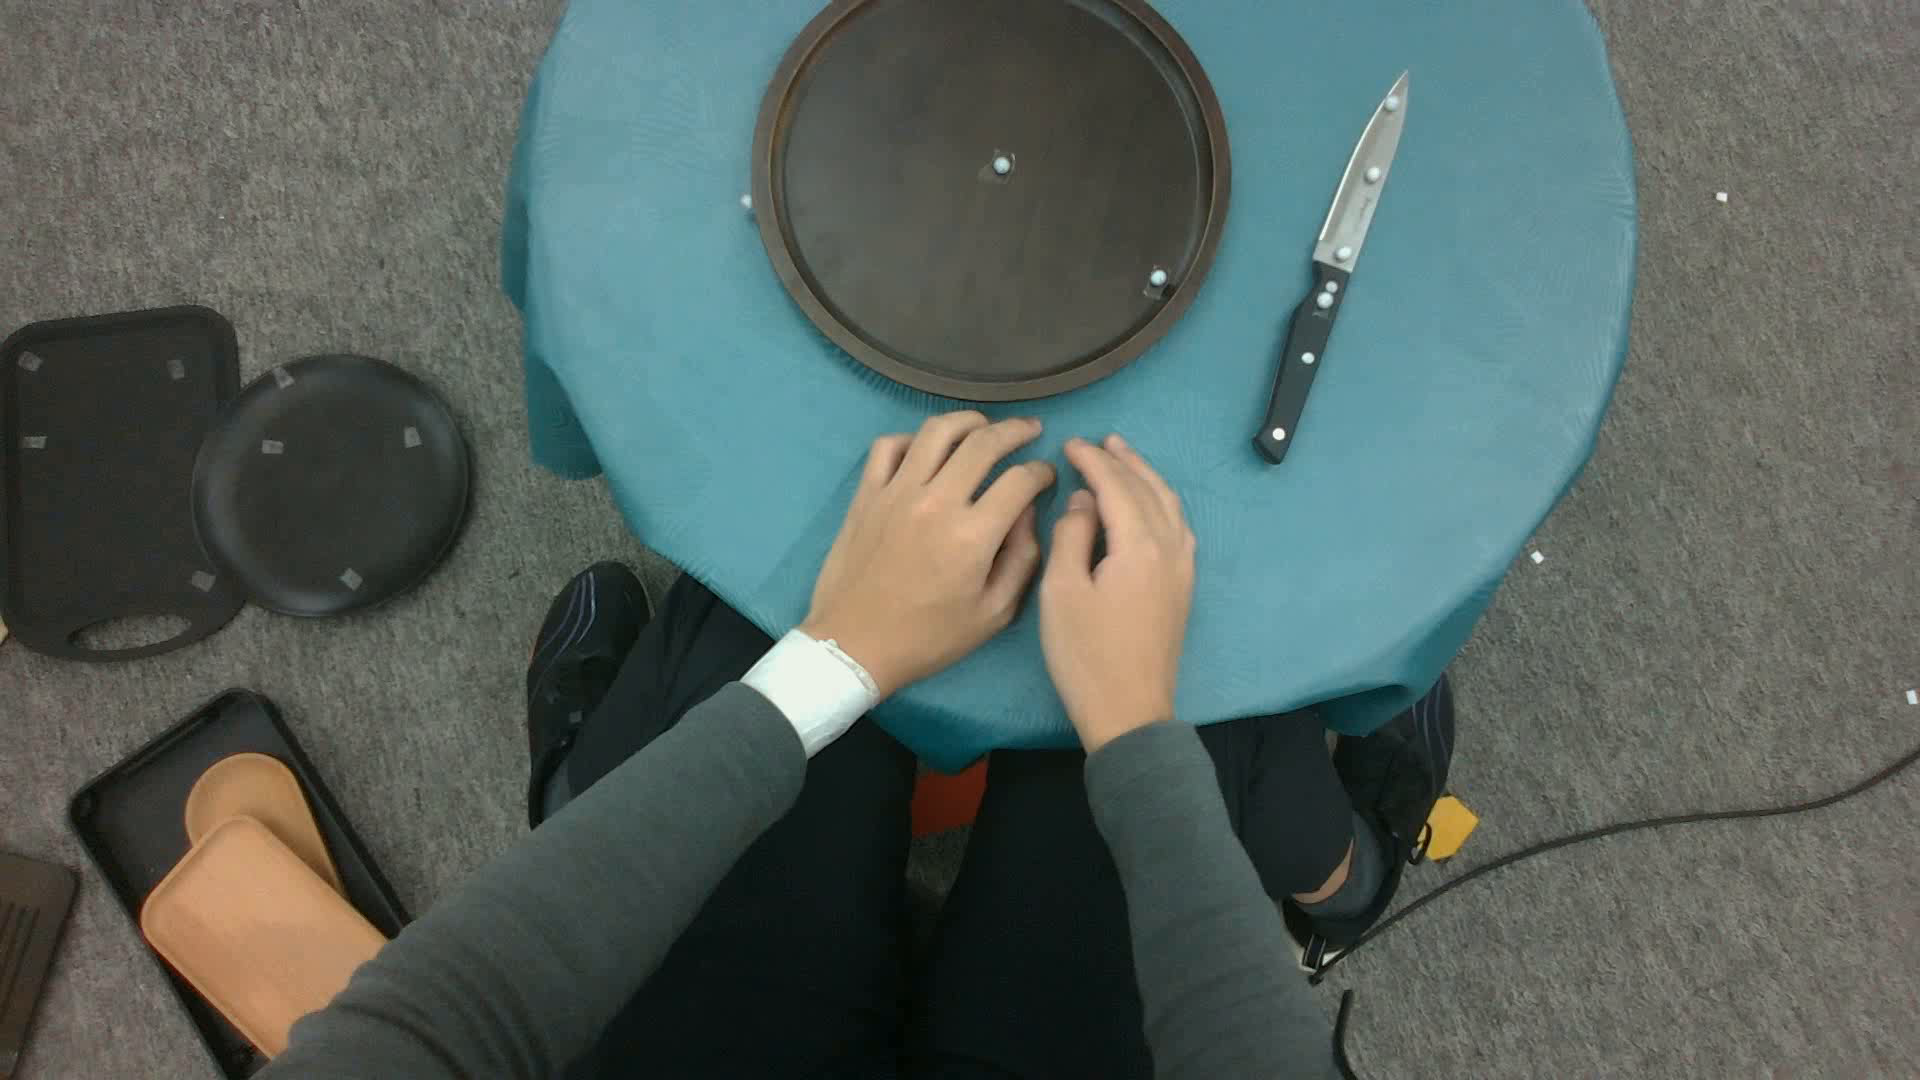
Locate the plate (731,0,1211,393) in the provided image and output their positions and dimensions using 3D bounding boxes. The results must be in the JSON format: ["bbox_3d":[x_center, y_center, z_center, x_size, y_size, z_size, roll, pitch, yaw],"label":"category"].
[{"bbox_3d":[0.007,-0.198,0.732,0.255,0.029,0.255,0,78,-2],"label":"plate"}]

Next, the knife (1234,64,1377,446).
[{"bbox_3d":[0.192,-0.156,0.738,0.024,0.016,0.239,20,76,5],"label":"knife"}]
